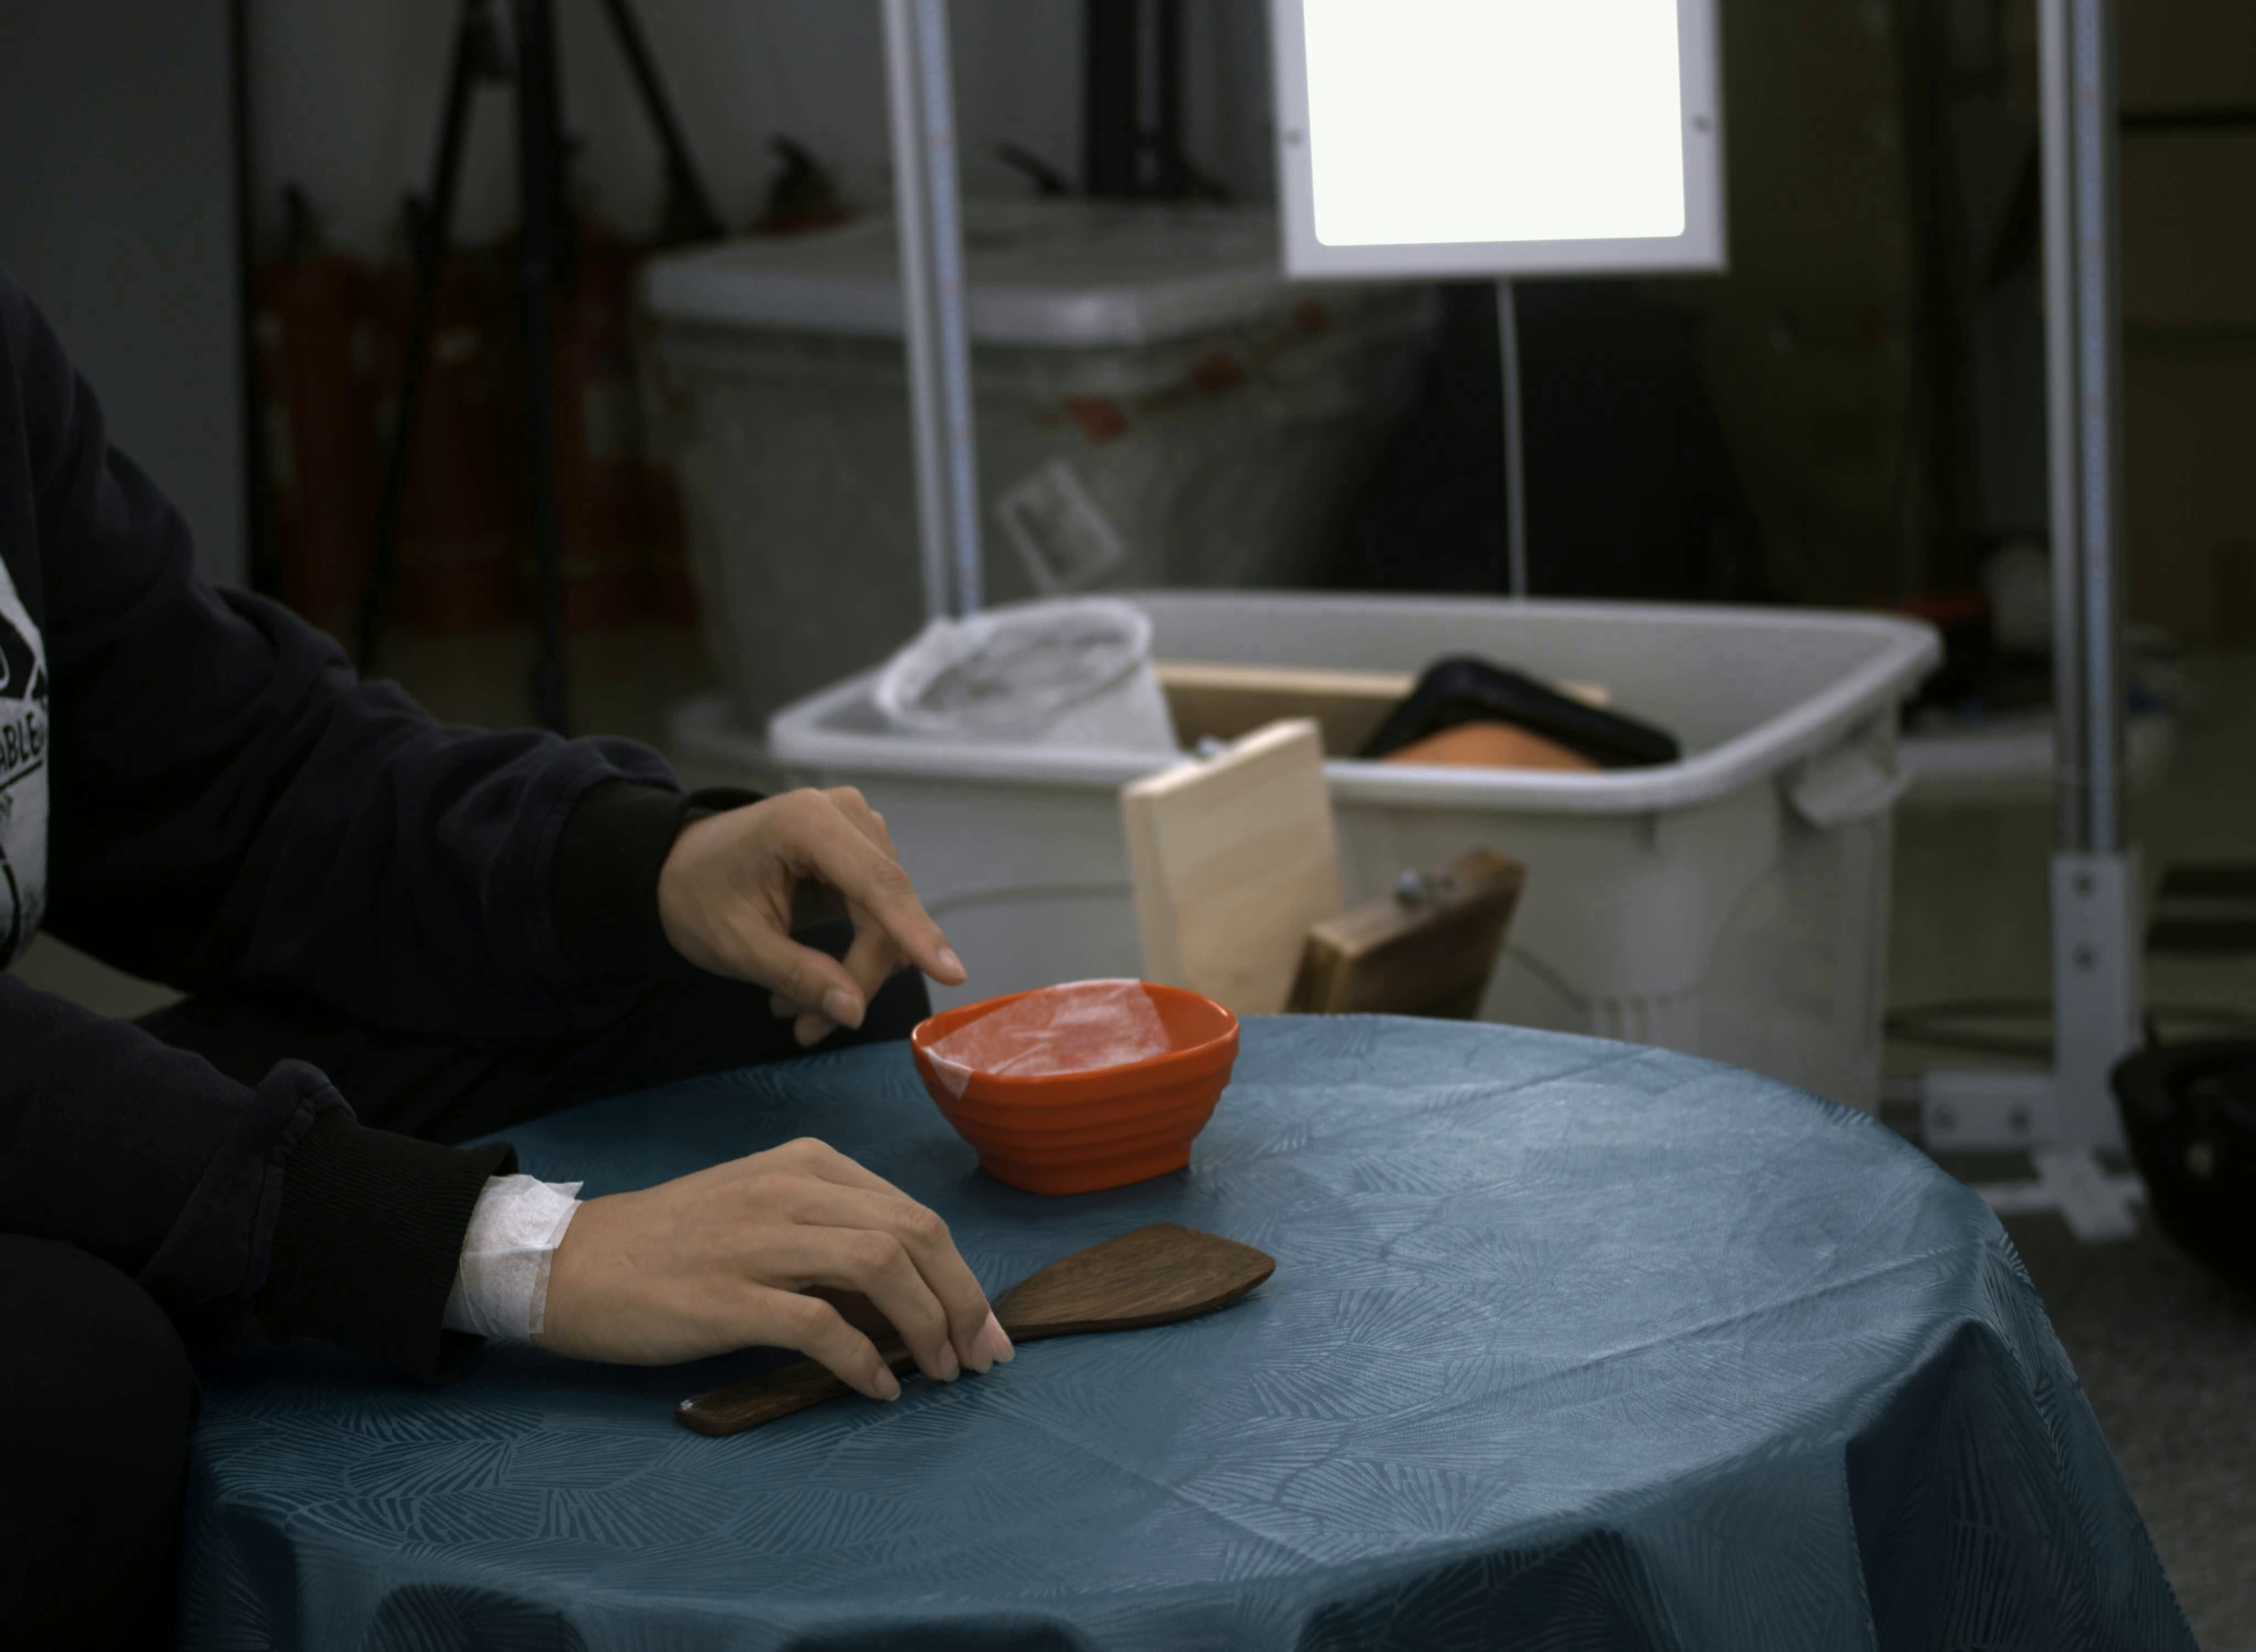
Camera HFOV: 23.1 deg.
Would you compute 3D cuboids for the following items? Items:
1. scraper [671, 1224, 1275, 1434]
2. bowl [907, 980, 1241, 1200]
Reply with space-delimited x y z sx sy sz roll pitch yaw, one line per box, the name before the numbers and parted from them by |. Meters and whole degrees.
scraper | -0.052 0.162 1.755 0.206 0.011 0.077 -15 16 -32
bowl | -0.018 0.095 1.930 0.118 0.051 0.119 -4 15 0
